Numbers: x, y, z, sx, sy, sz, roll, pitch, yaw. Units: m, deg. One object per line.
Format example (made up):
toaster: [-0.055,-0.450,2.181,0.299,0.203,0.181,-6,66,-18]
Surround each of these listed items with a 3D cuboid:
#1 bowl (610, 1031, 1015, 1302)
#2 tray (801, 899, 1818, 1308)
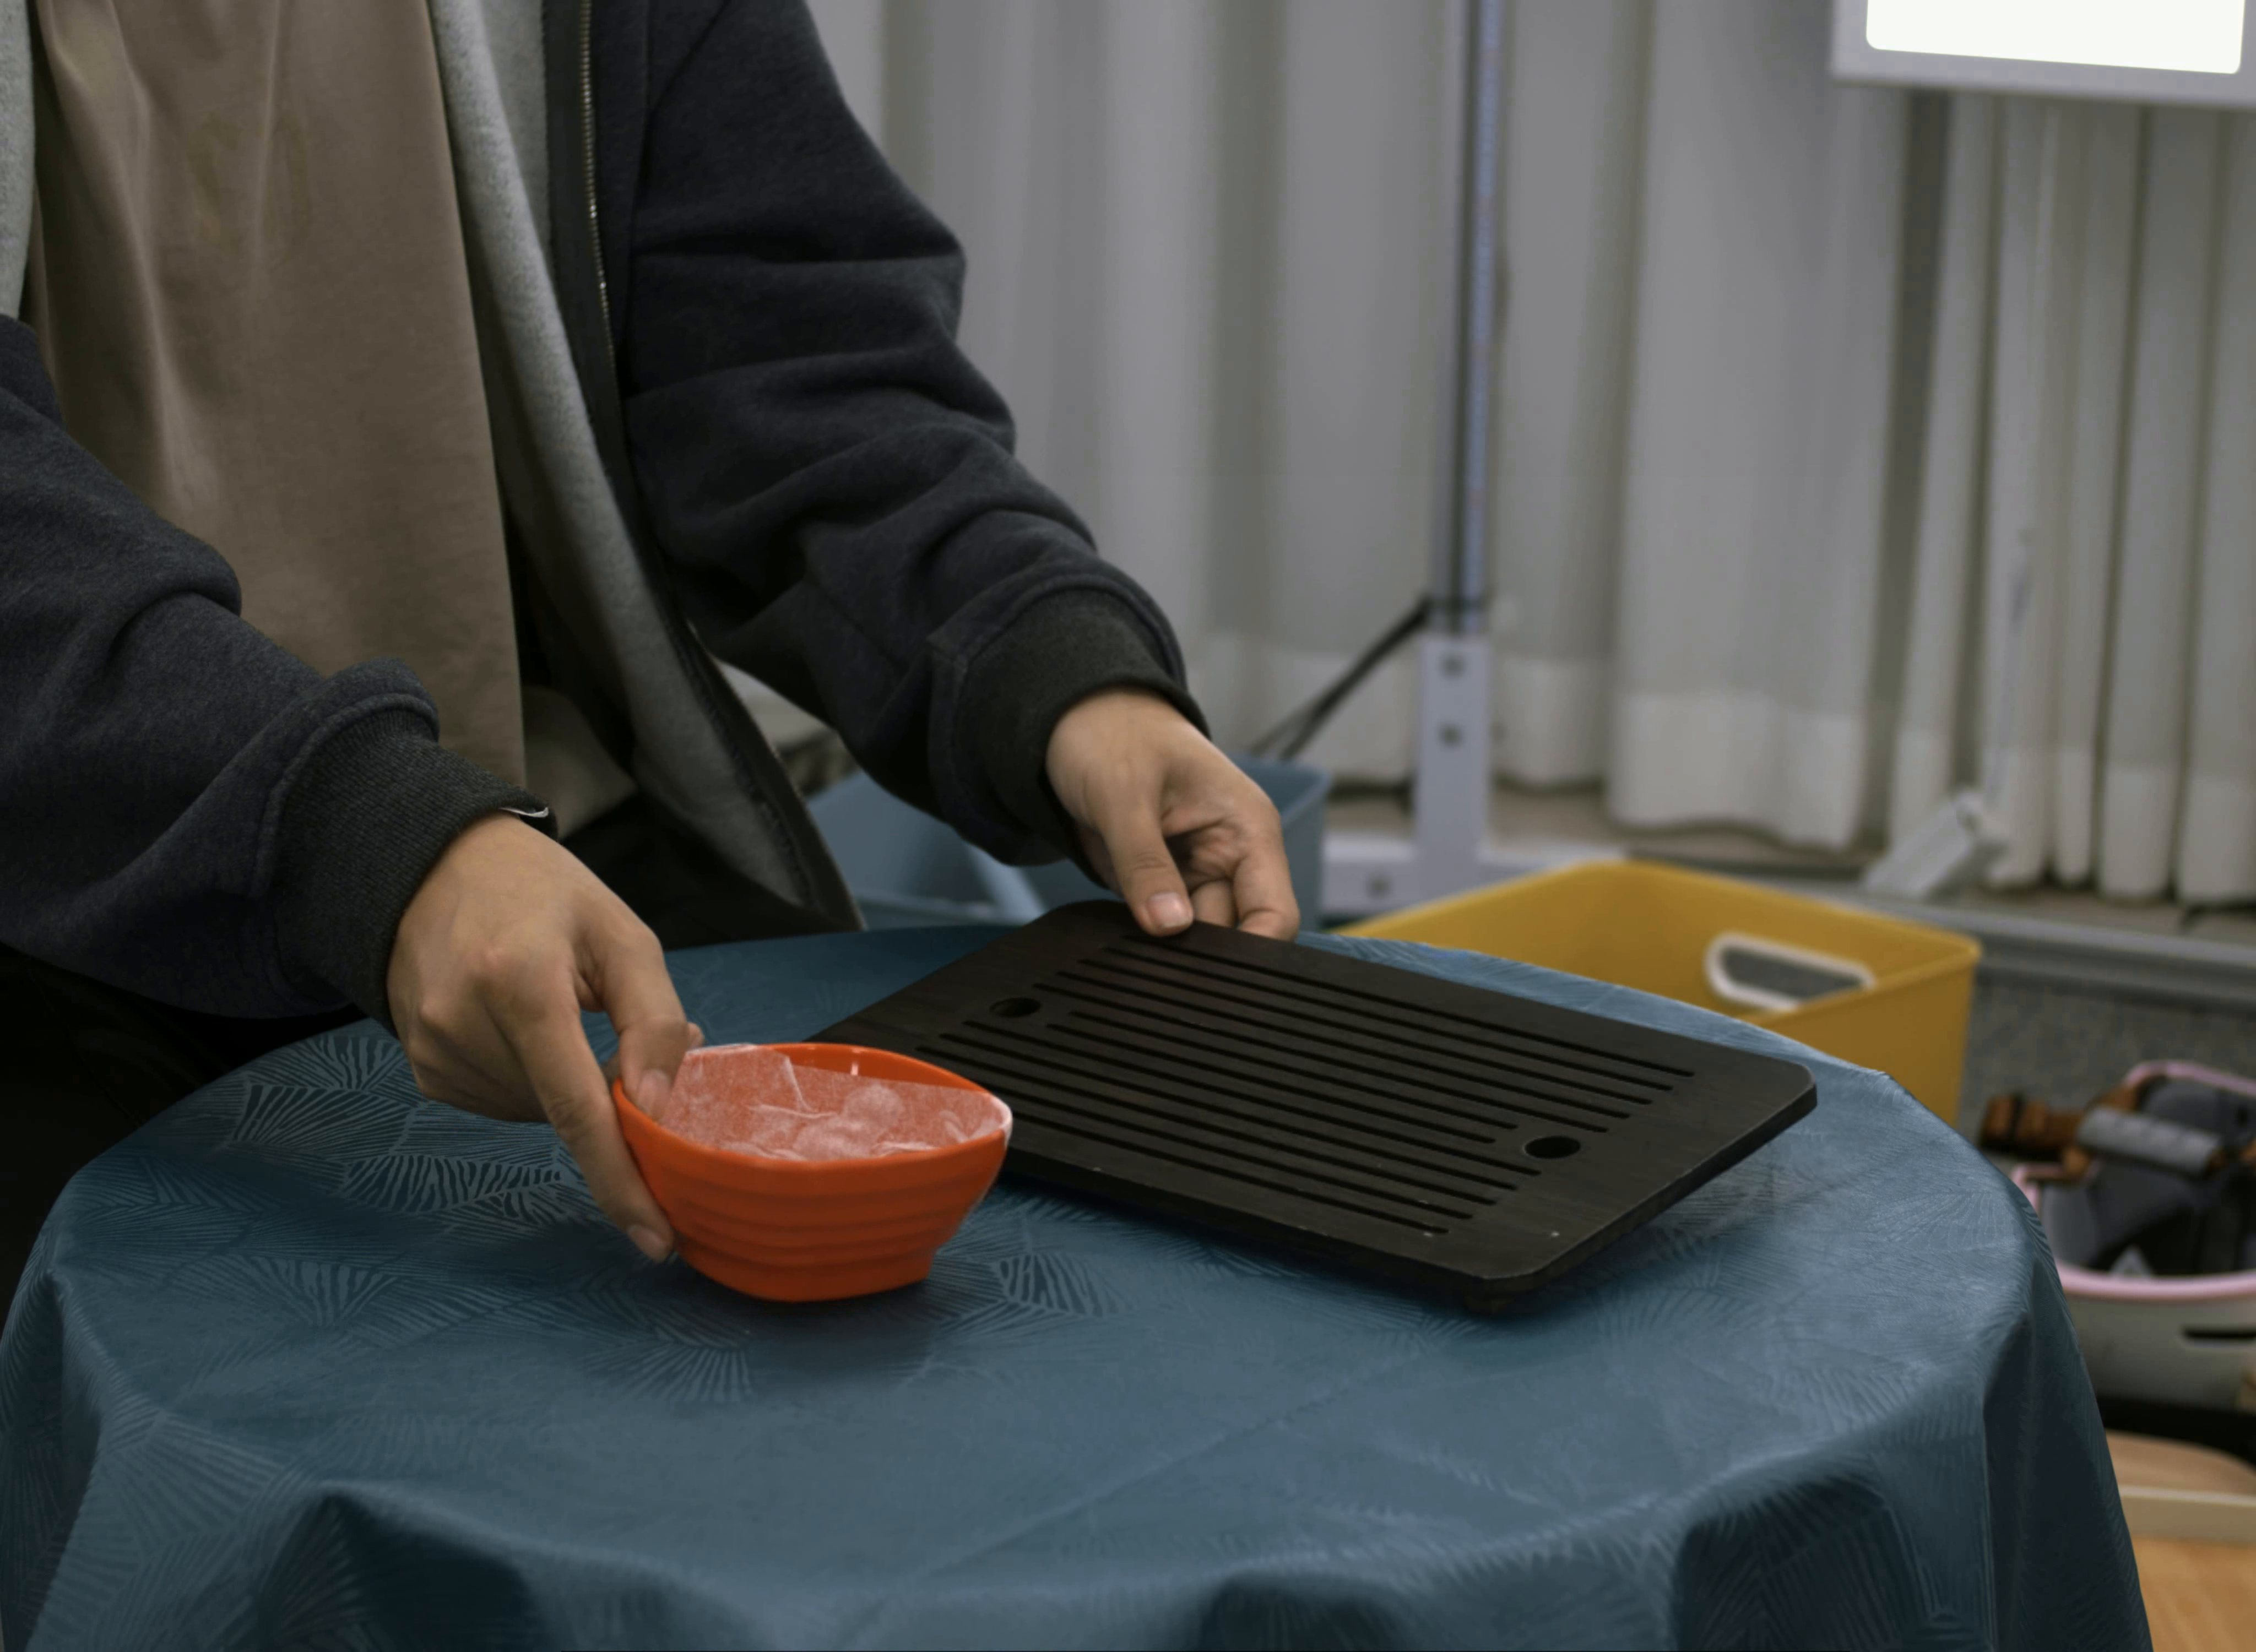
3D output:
bowl: [-0.094,0.102,1.539,0.118,0.052,0.118,5,17,-1]
tray: [0.049,0.084,1.657,0.302,0.019,0.170,13,27,38]
